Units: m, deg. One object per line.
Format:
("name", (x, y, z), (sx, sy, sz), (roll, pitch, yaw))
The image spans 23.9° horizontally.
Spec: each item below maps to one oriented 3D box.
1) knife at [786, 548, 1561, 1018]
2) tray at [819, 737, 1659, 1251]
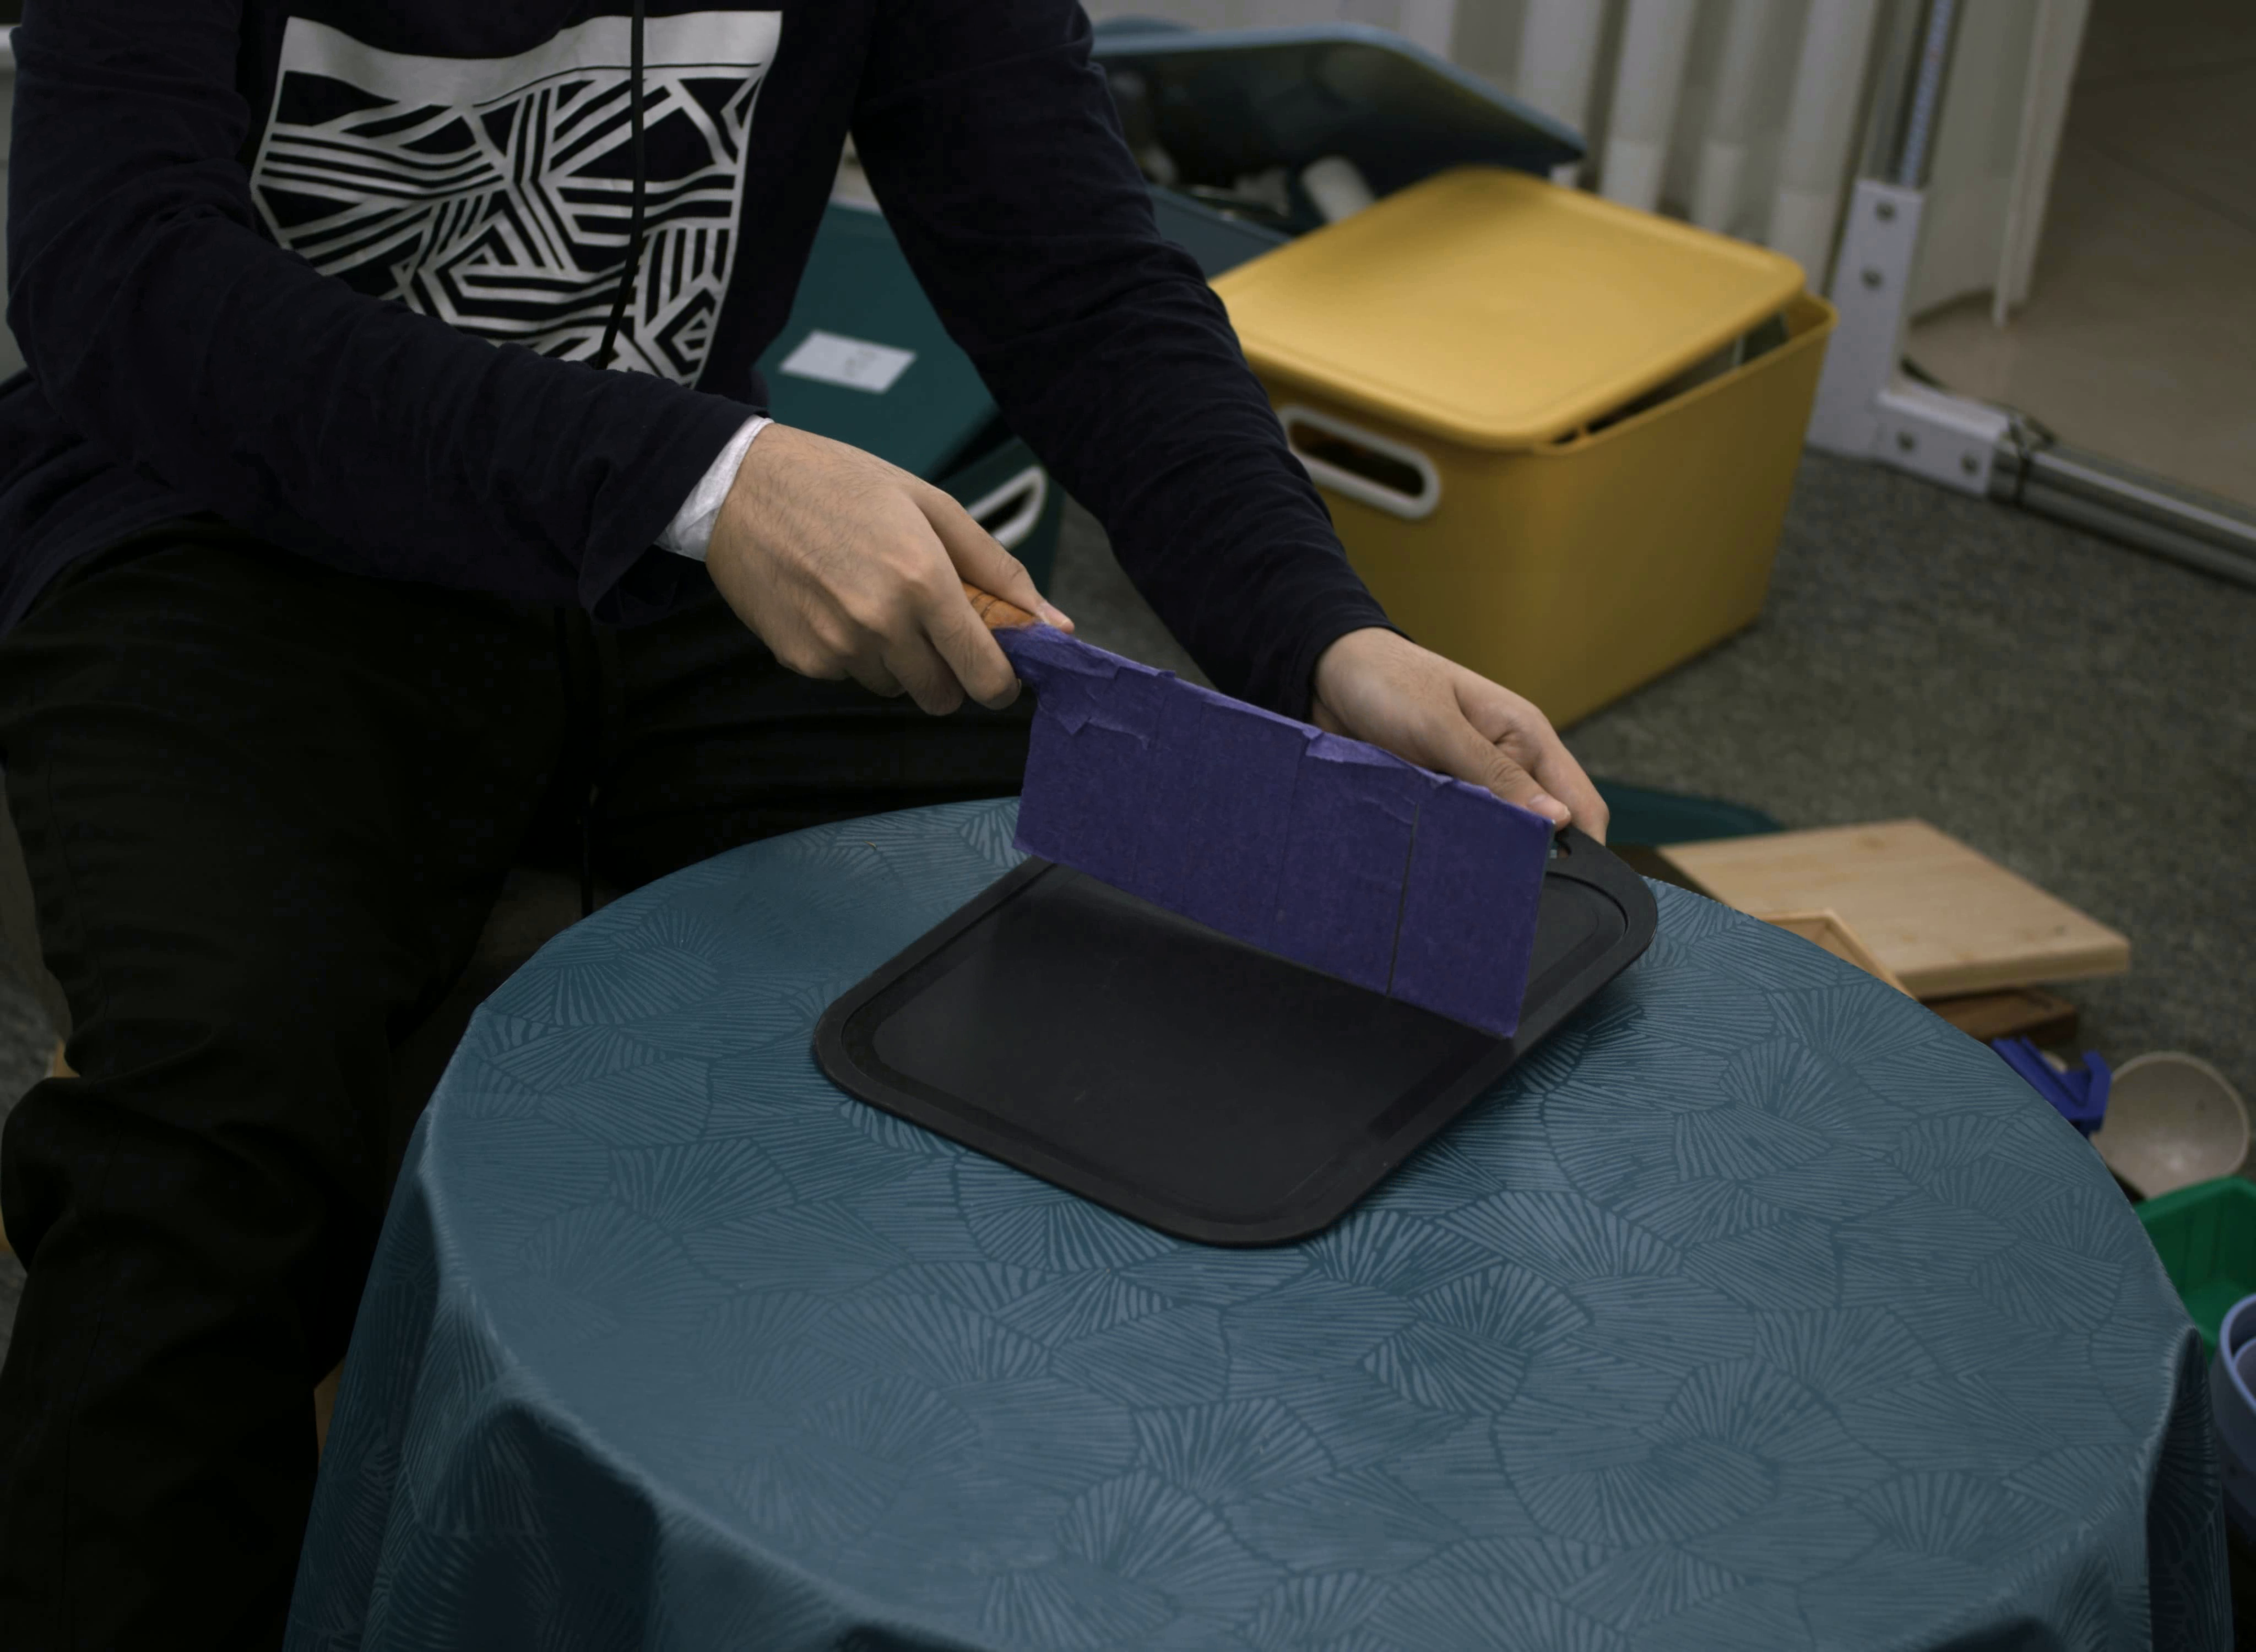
("knife", (0.008, -0.013, 1.930), (0.317, 0.103, 0.032), (21, 26, 24))
("tray", (0.048, 0.049, 1.928), (0.212, 0.010, 0.325), (22, 36, 27))
